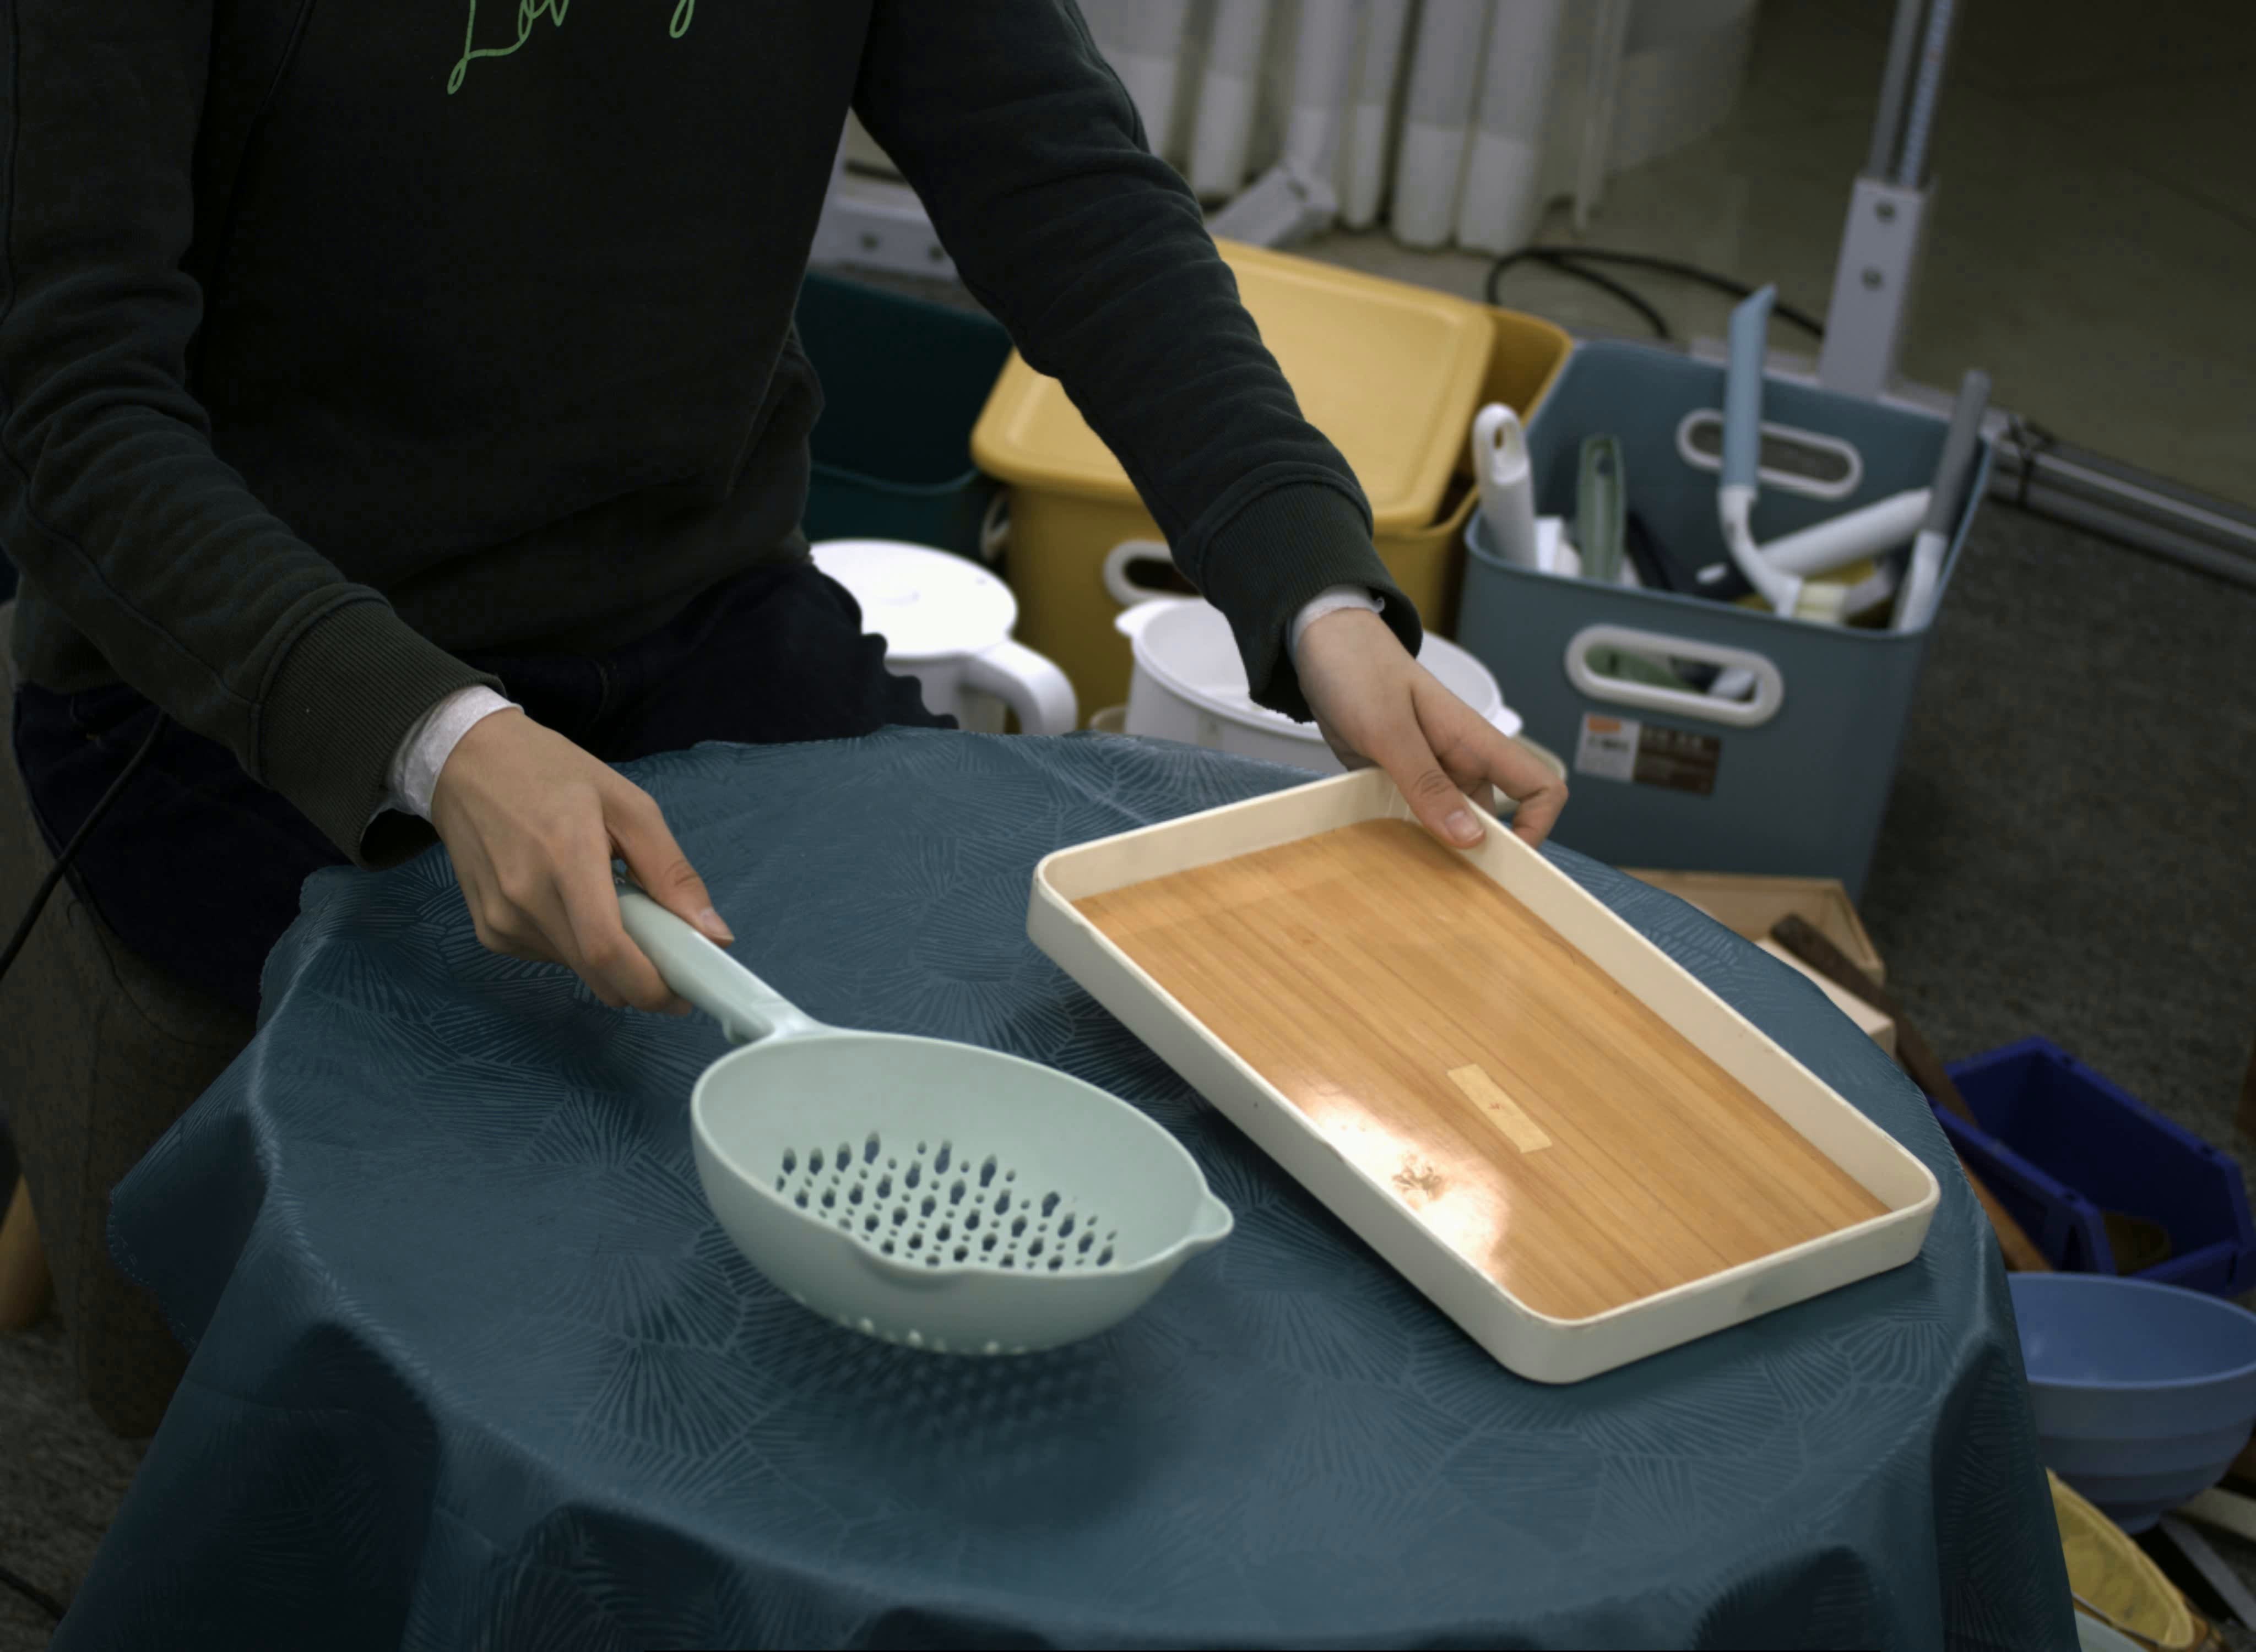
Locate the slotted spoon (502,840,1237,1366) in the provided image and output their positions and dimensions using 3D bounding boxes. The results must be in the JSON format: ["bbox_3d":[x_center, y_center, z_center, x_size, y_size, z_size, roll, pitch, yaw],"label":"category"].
[{"bbox_3d":[-0.114,0.076,1.764,0.168,0.075,0.362,-3,34,-37],"label":"slotted spoon"}]

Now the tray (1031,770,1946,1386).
[{"bbox_3d":[0.121,0.081,1.852,0.190,0.027,0.303,-14,39,-35],"label":"tray"}]
